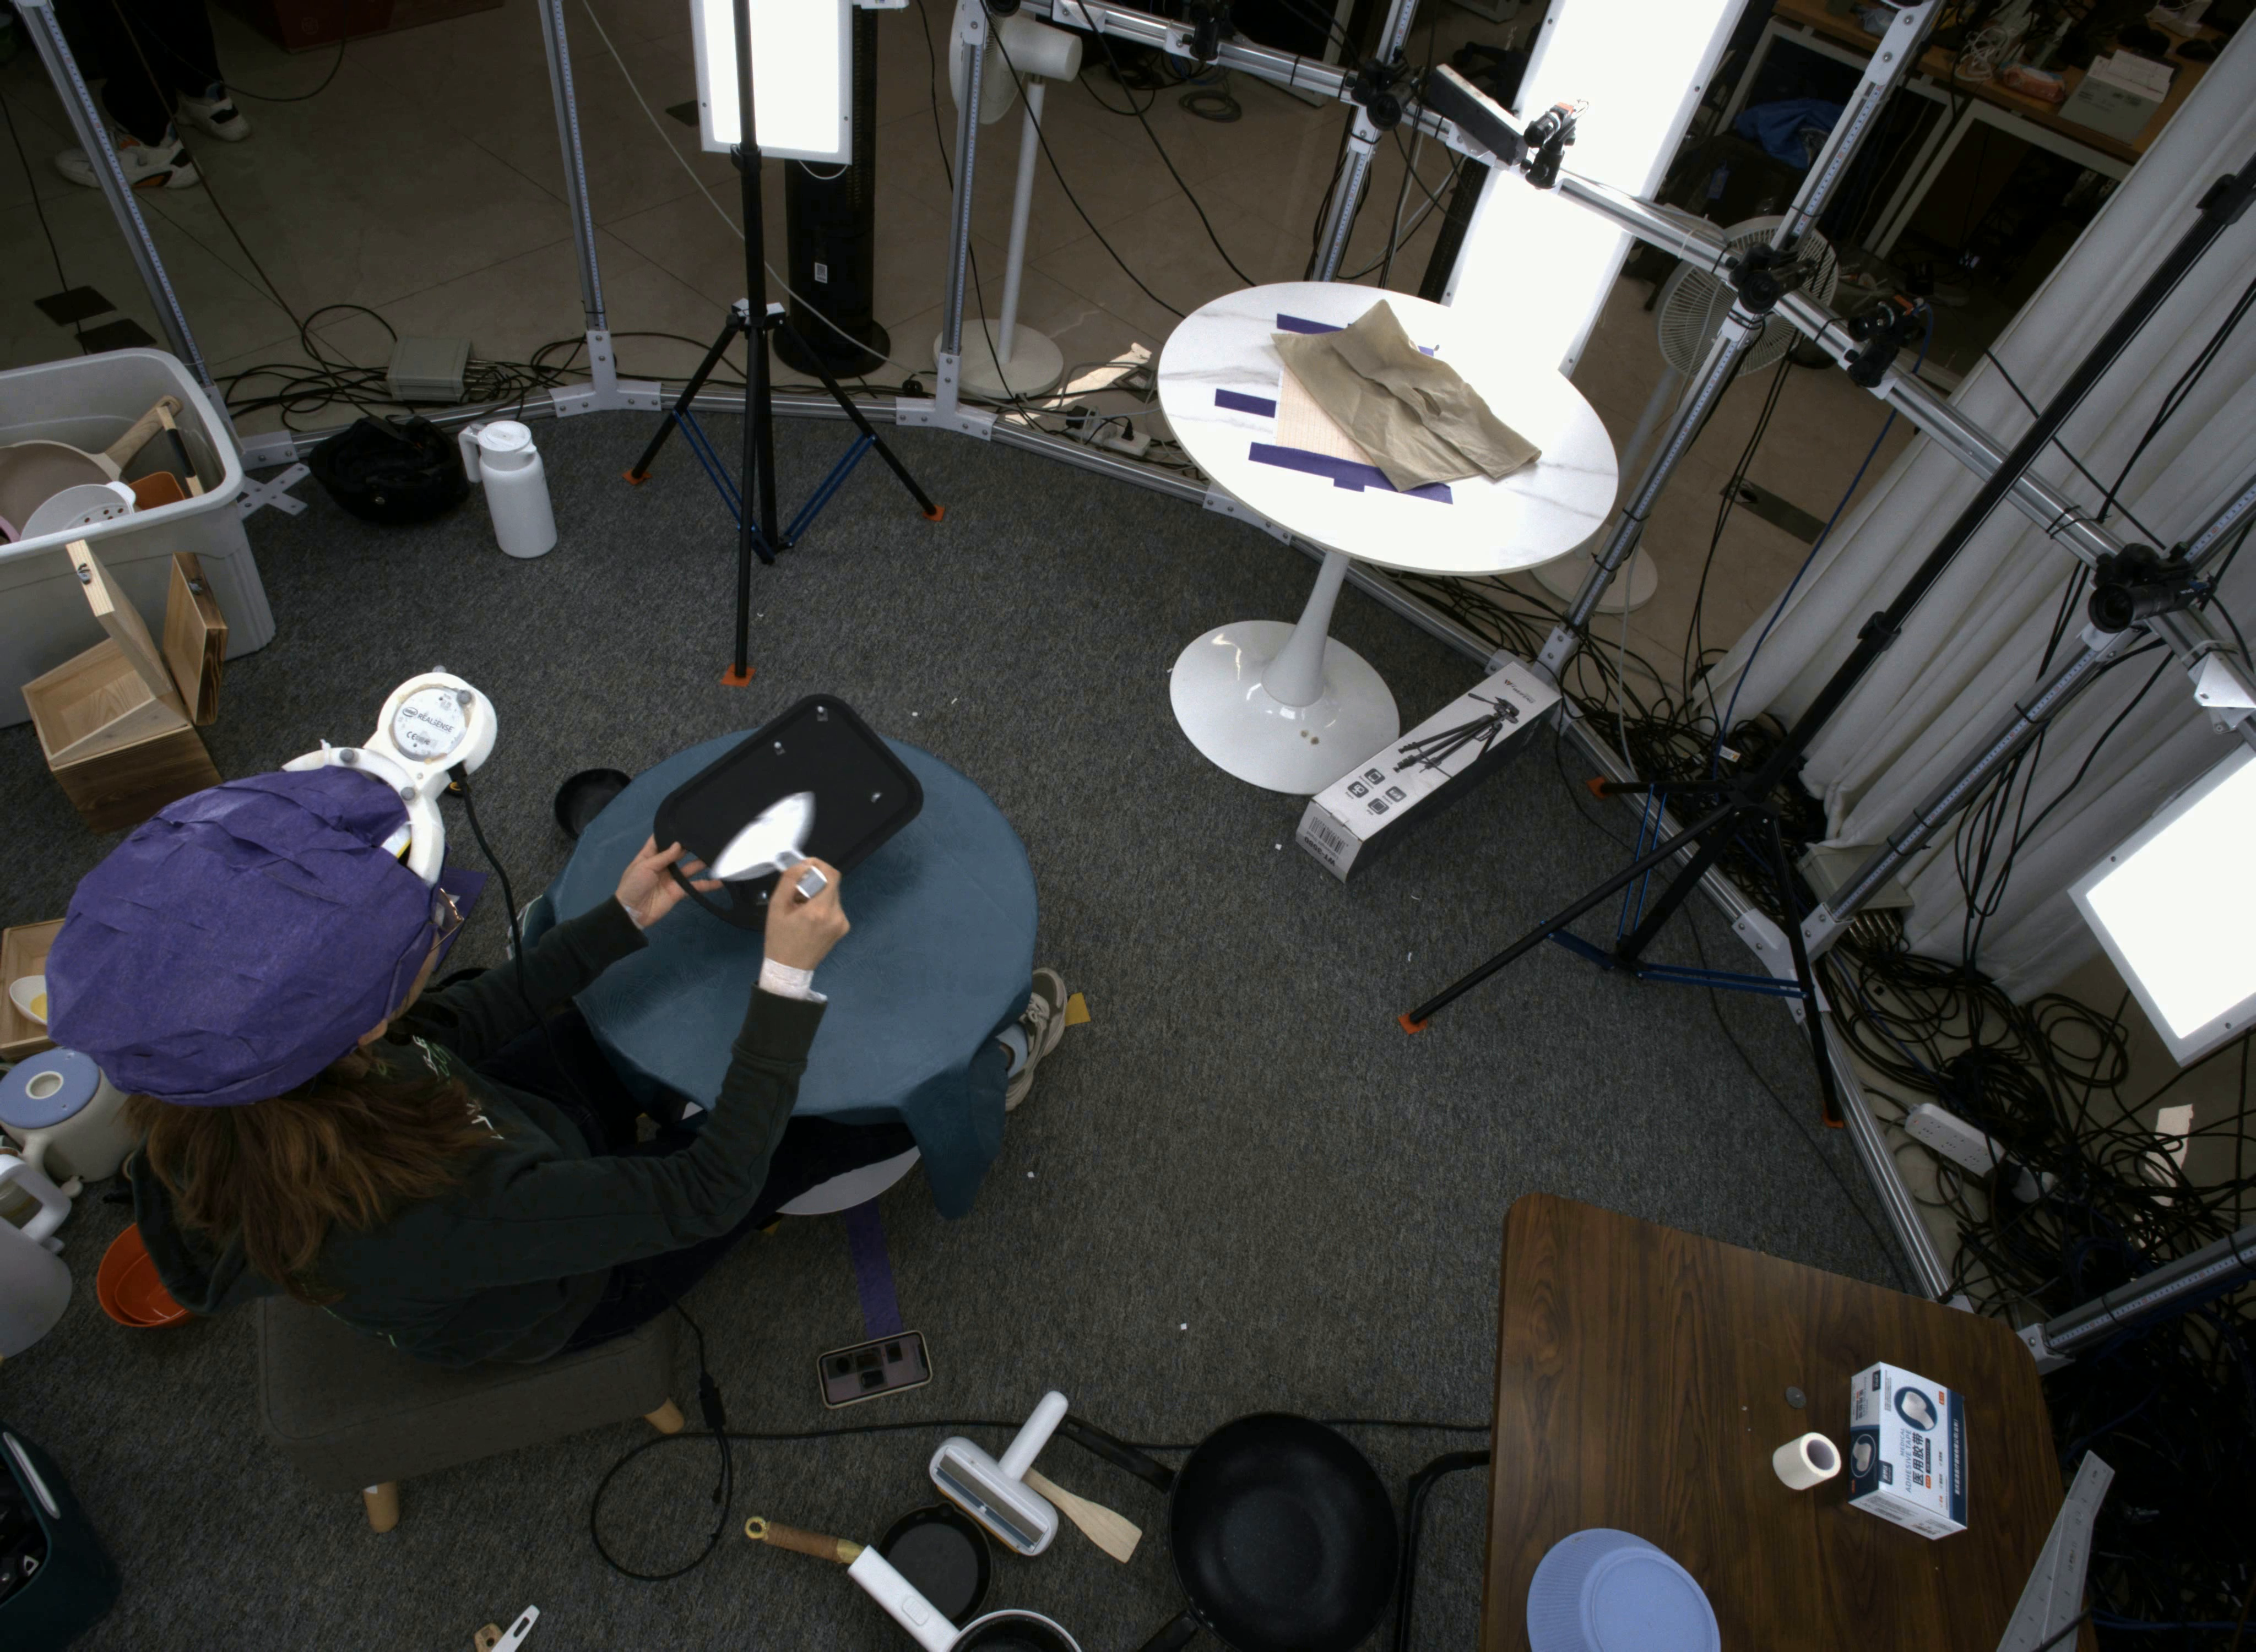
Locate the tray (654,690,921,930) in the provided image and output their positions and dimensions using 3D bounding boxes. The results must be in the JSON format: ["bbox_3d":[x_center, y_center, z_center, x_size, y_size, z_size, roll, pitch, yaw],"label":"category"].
[{"bbox_3d":[-0.418,-0.022,1.592,0.212,0.010,0.325,48,56,-3],"label":"tray"}]

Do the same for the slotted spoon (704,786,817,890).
[{"bbox_3d":[-0.372,0.023,1.350,0.047,0.341,0.136,46,77,-19],"label":"slotted spoon"}]
